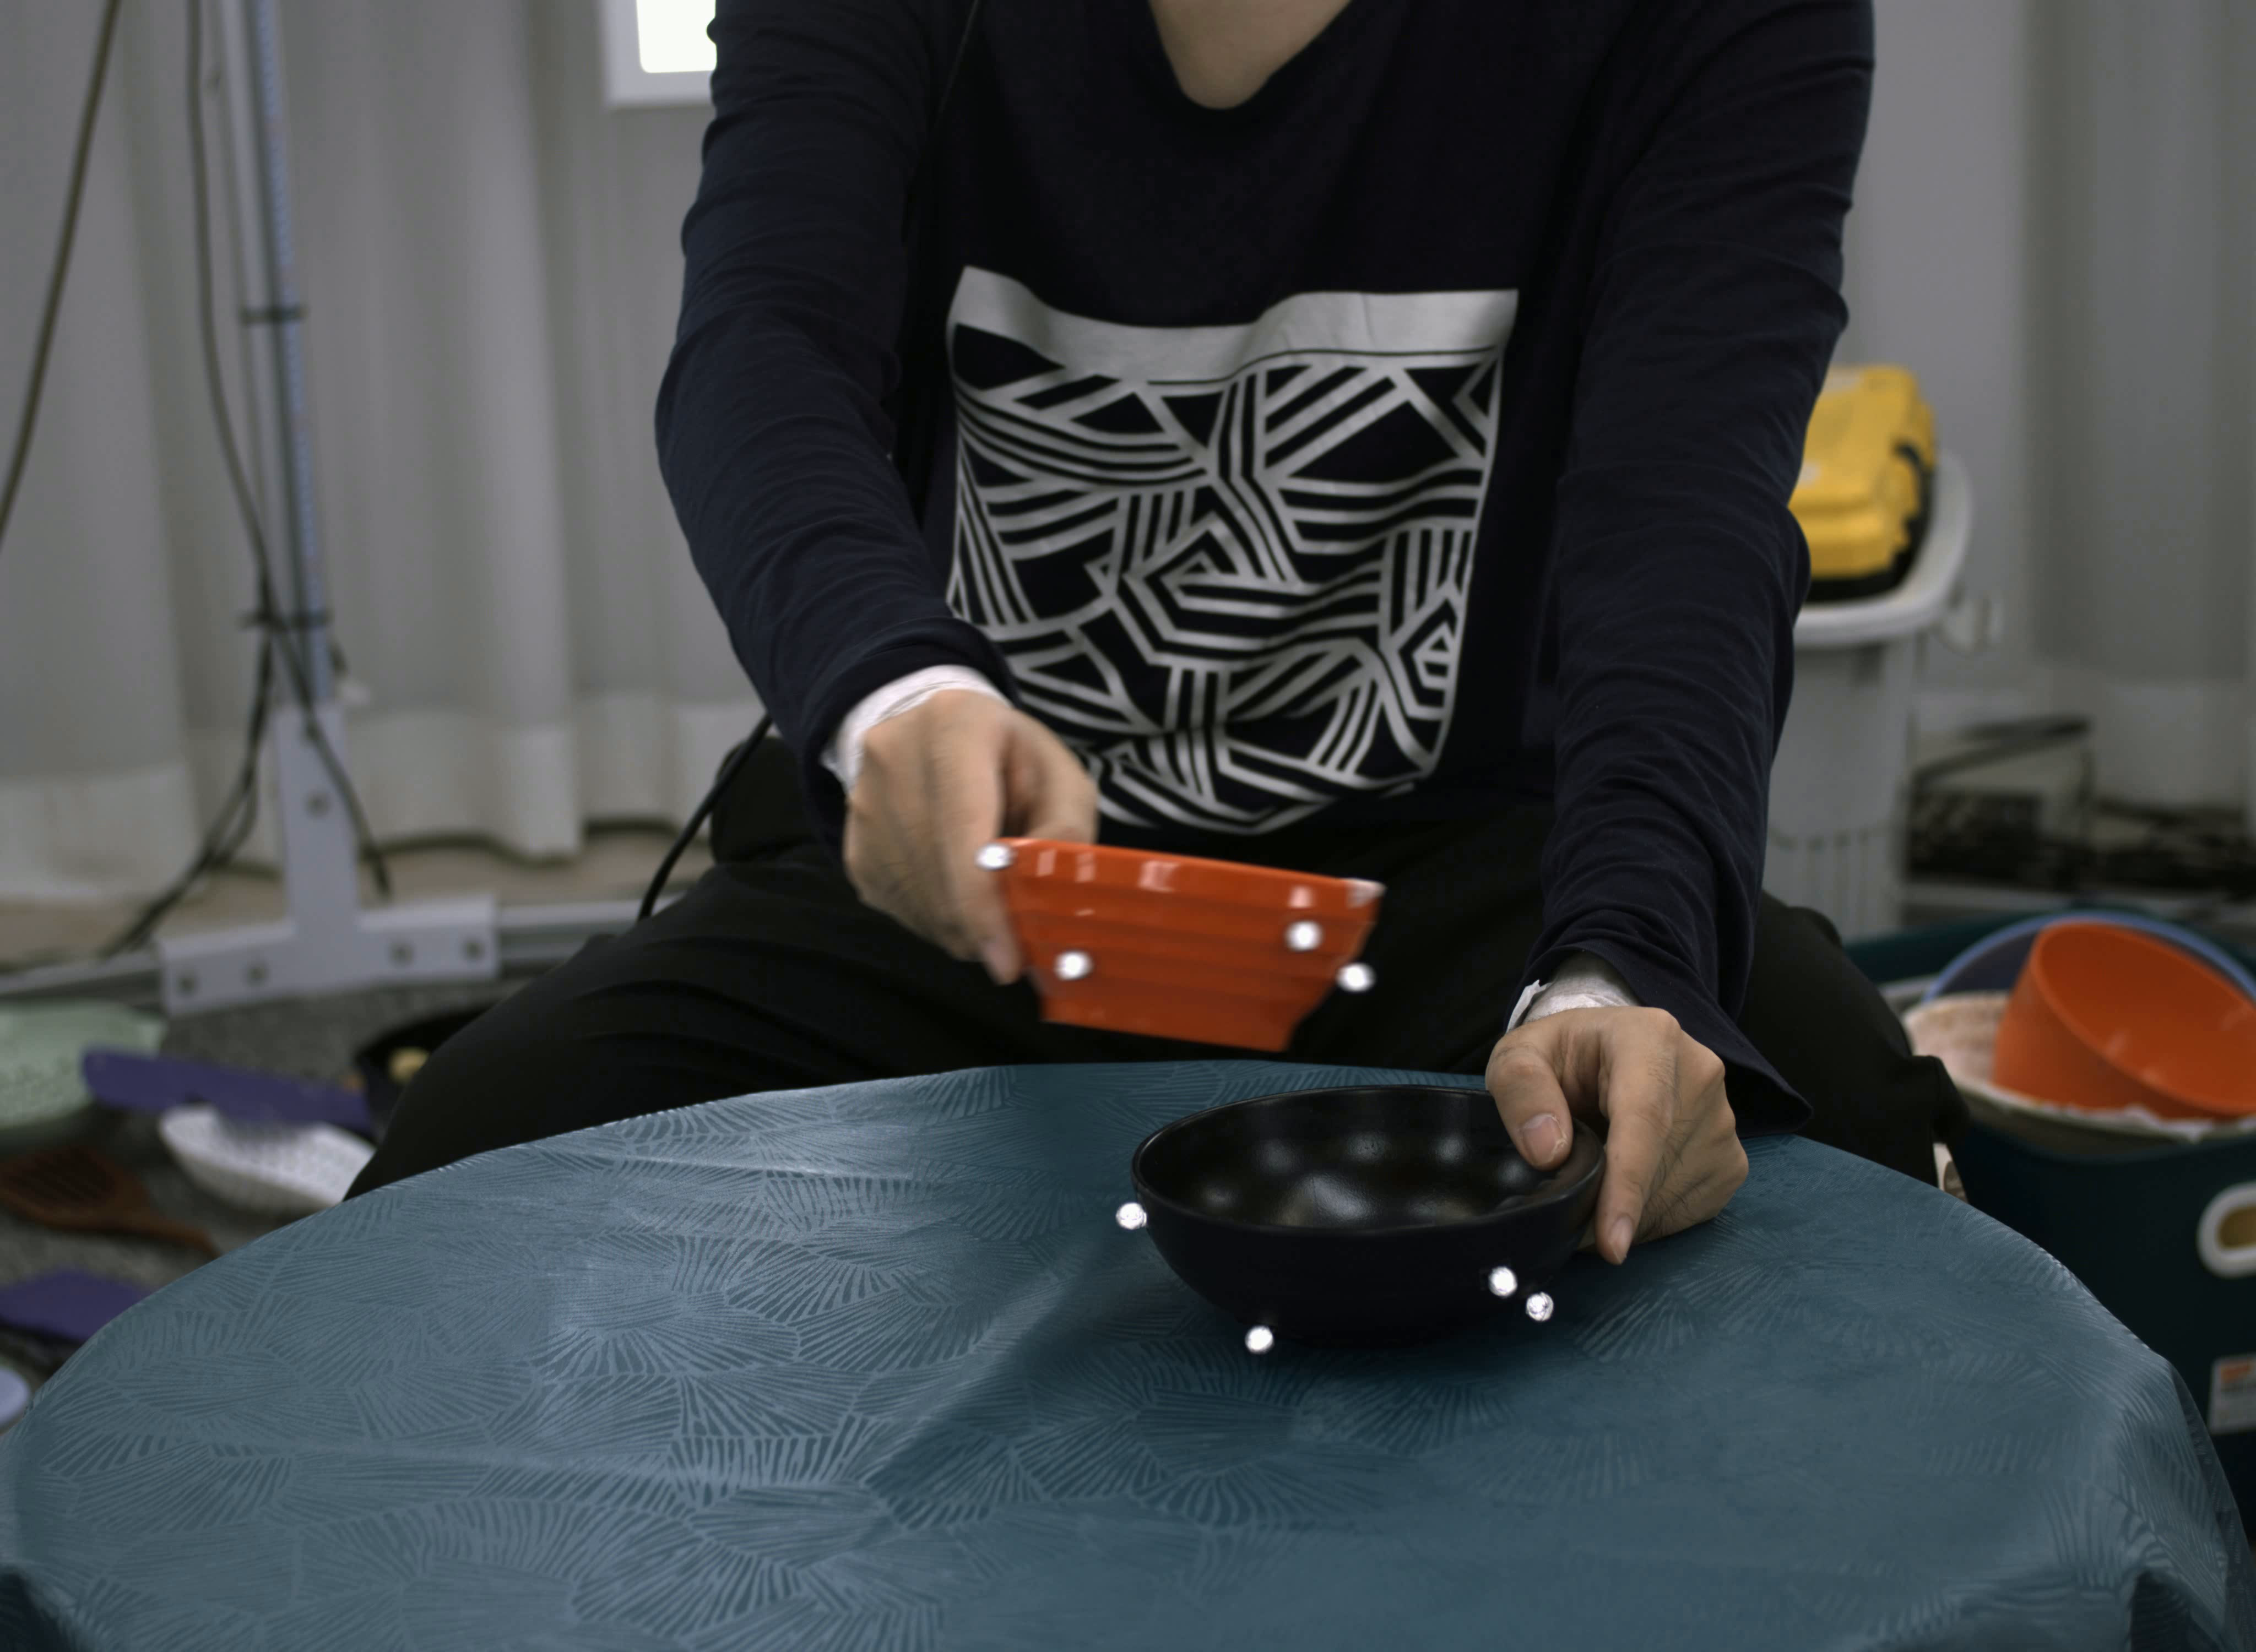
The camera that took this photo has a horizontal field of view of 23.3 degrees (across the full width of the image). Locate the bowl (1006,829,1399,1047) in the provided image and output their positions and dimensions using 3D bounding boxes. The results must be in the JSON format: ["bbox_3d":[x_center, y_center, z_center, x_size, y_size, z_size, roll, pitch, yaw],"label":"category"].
[{"bbox_3d":[0.018,0.033,1.555,0.118,0.051,0.119,7,-1,0],"label":"bowl"}]

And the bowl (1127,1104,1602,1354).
[{"bbox_3d":[0.070,0.121,1.594,0.139,0.049,0.140,-2,10,0],"label":"bowl"}]
